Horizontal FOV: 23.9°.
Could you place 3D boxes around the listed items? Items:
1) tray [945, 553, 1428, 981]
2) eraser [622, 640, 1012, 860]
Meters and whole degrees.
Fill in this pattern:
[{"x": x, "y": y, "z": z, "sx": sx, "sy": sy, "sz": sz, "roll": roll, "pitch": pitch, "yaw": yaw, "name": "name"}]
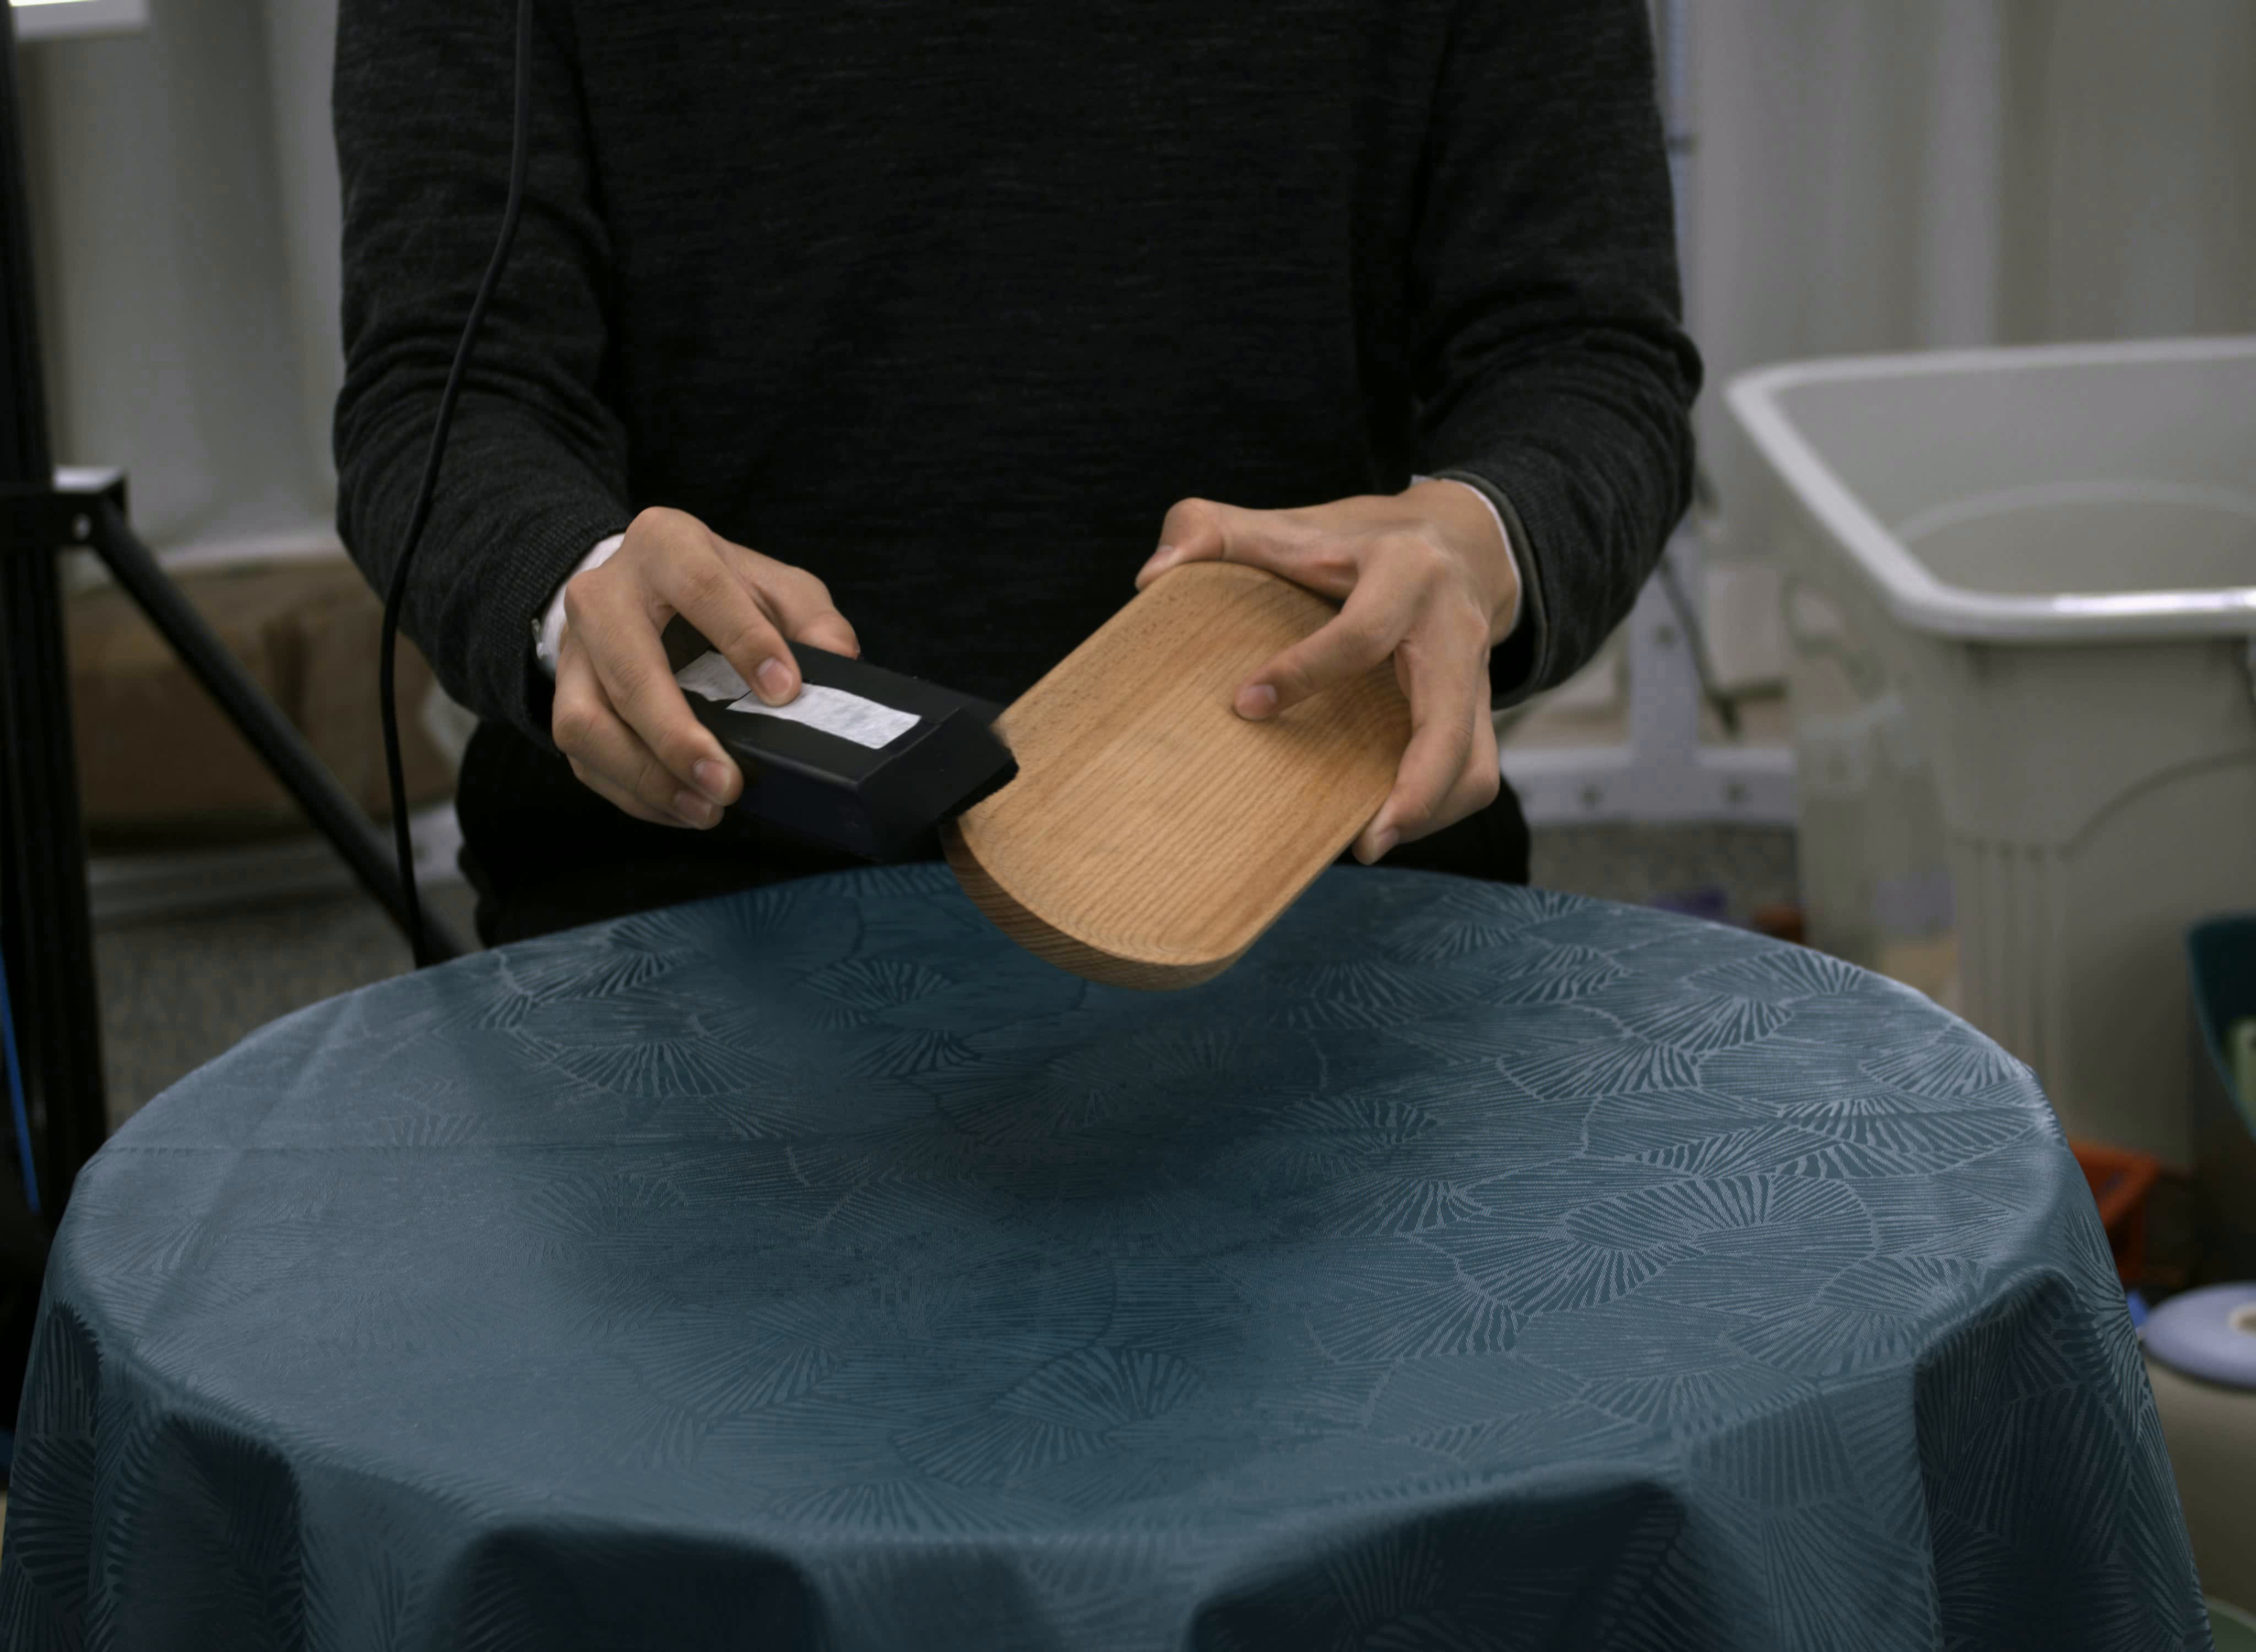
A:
[{"x": 0.019, "y": -0.019, "z": 1.585, "sx": 0.102, "sy": 0.020, "sz": 0.228, "roll": 37, "pitch": 32, "yaw": 7, "name": "tray"}, {"x": -0.090, "y": -0.023, "z": 1.533, "sx": 0.053, "sy": 0.030, "sz": 0.128, "roll": -35, "pitch": 28, "yaw": -27, "name": "eraser"}]
